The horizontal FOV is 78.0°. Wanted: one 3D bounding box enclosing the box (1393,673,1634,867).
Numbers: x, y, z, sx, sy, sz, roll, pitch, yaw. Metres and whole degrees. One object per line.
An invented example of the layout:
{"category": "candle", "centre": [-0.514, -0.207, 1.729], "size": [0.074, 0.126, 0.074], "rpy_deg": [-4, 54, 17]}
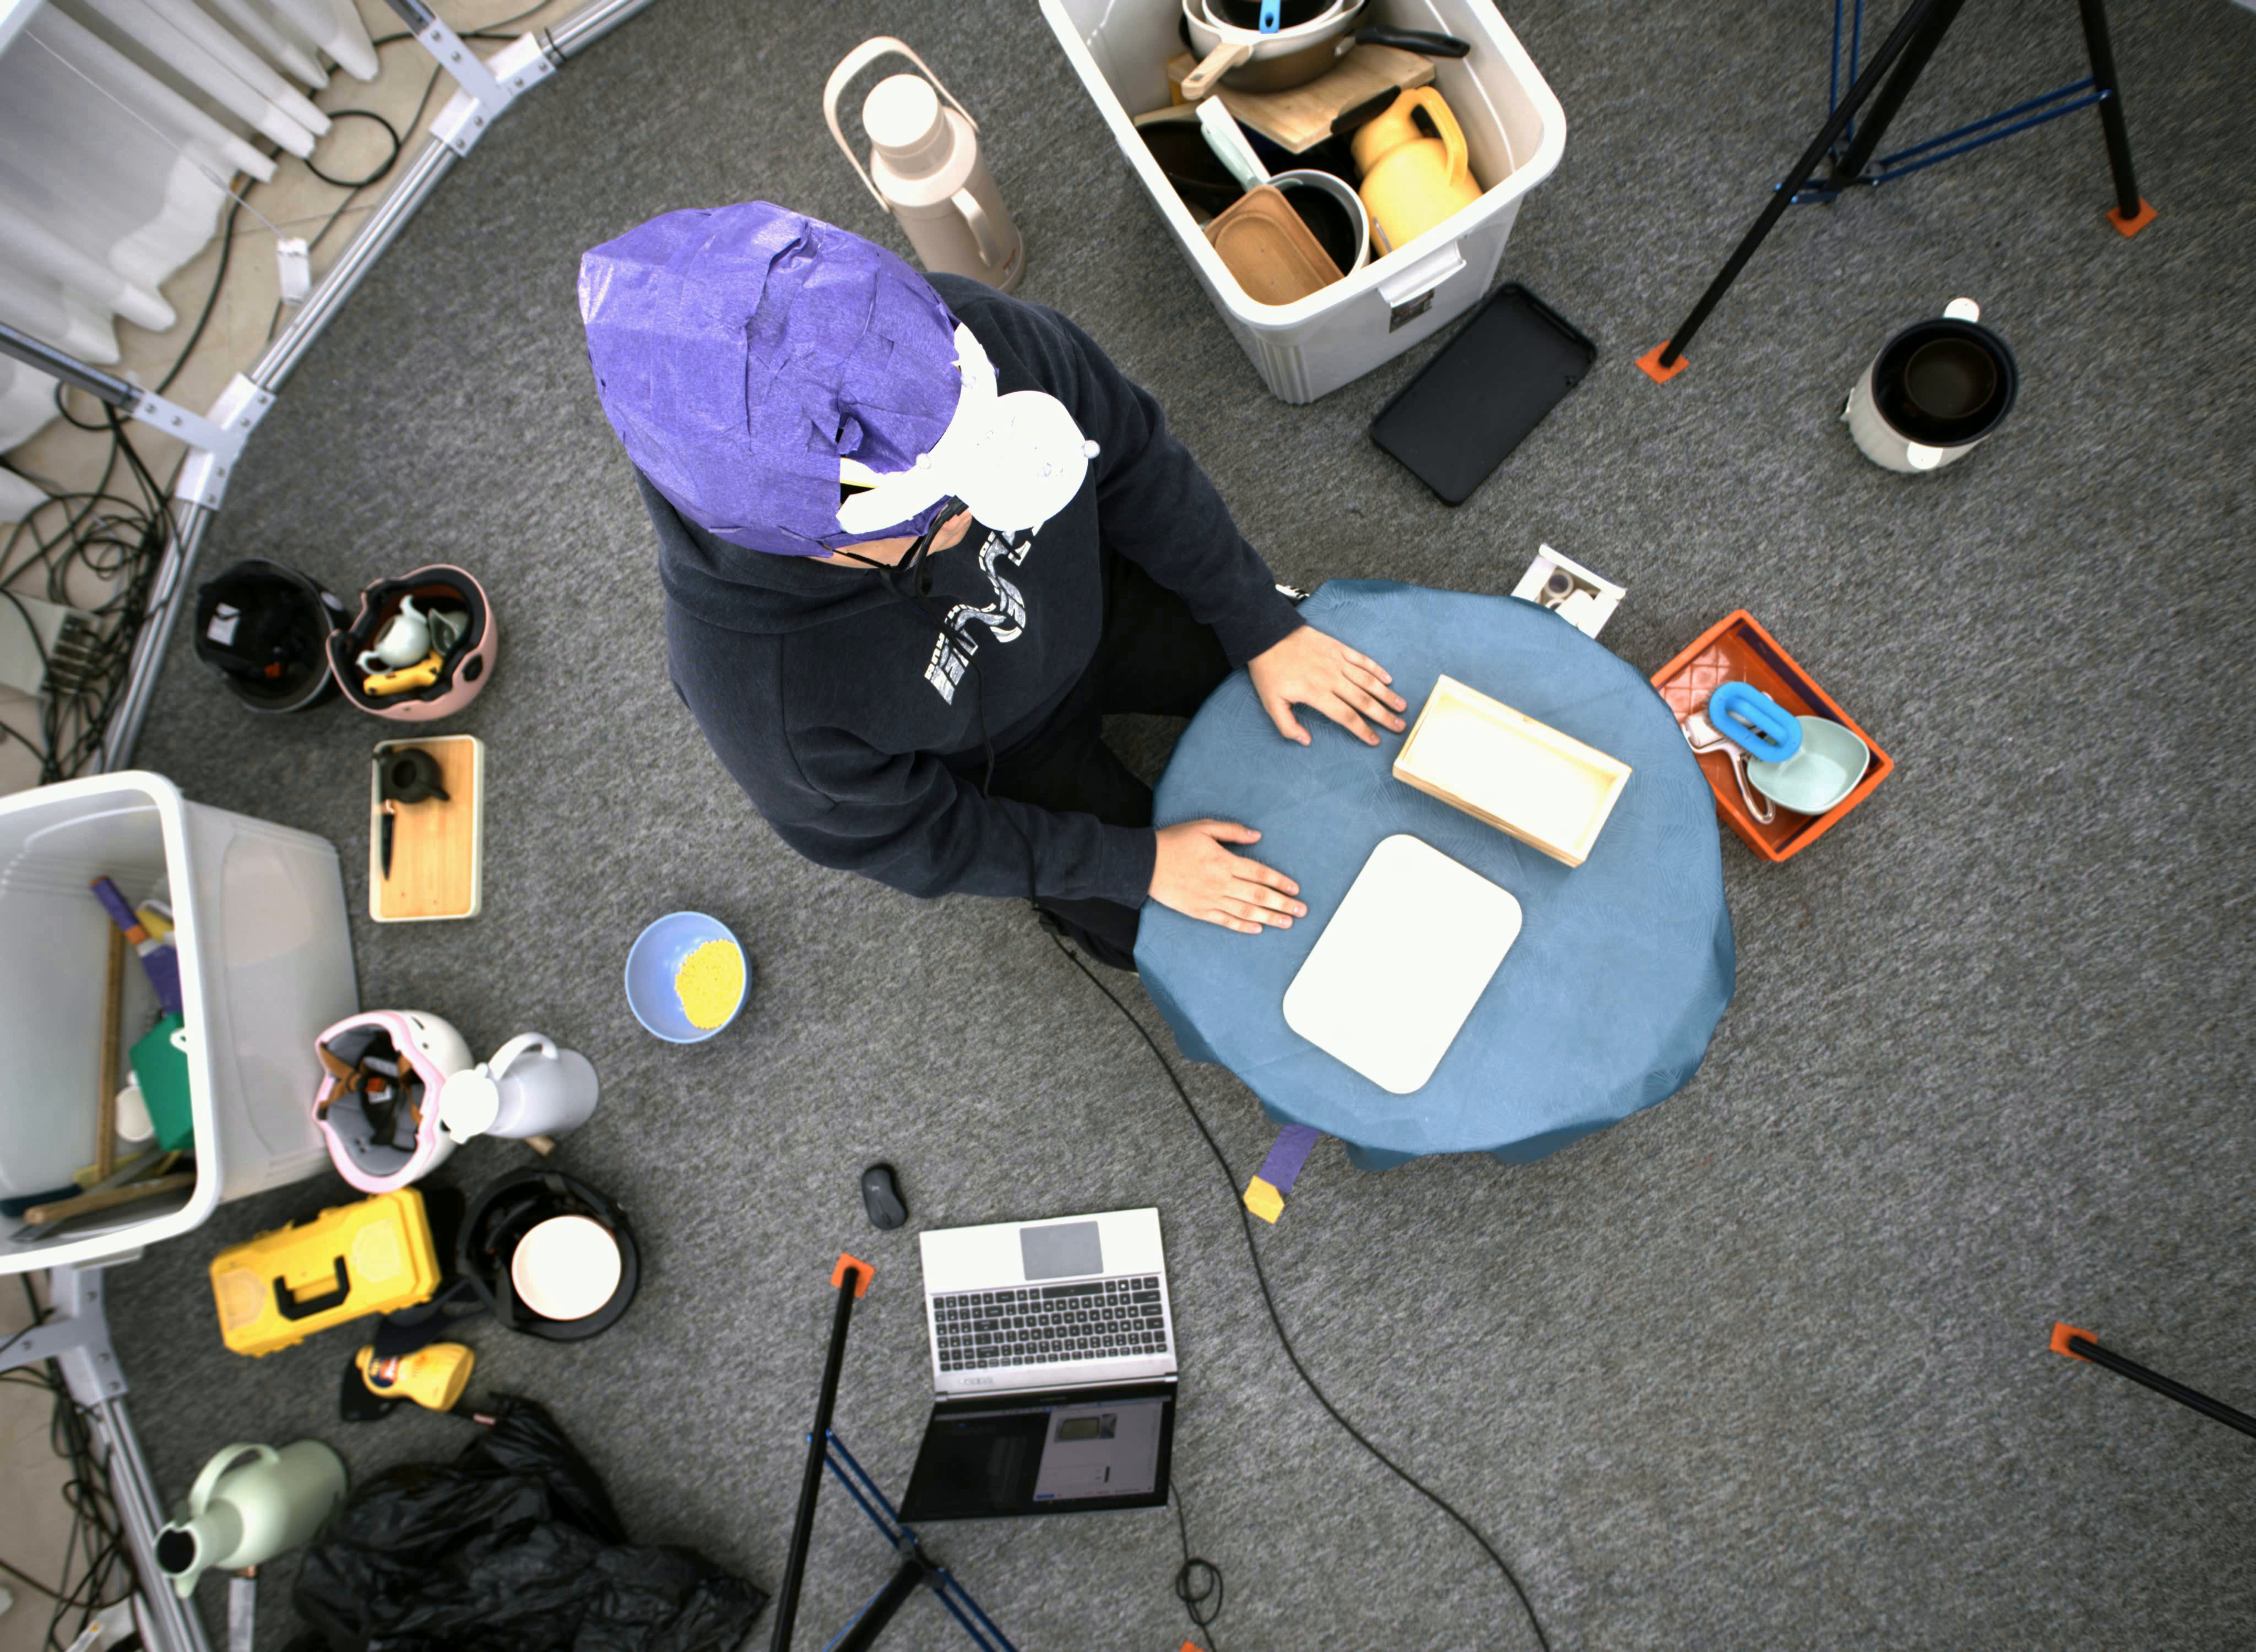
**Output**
{"category": "box", "centre": [0.390, -0.059, 1.405], "size": [0.211, 0.080, 0.107], "rpy_deg": [28, 90, 12]}

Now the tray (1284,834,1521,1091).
{"category": "tray", "centre": [0.286, 0.141, 1.445], "size": [0.171, 0.017, 0.240], "rpy_deg": [32, 93, 12]}
